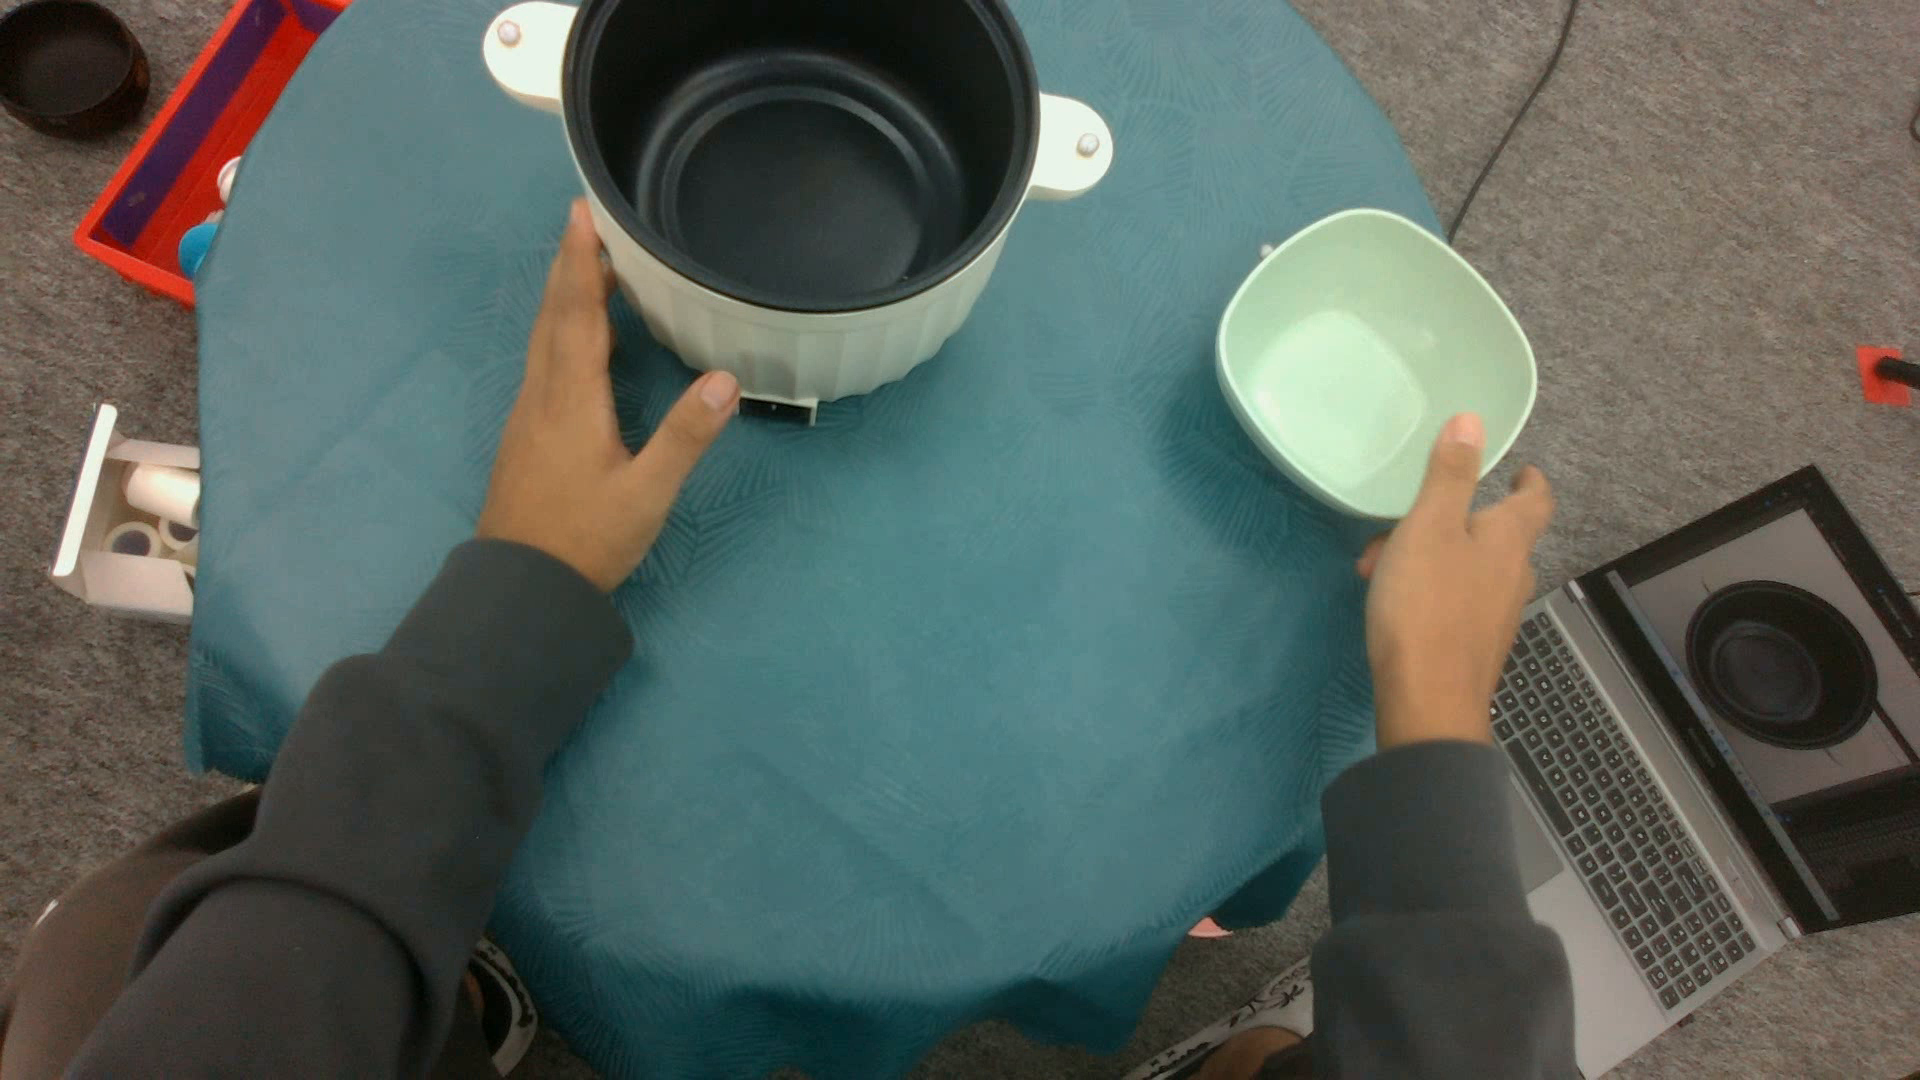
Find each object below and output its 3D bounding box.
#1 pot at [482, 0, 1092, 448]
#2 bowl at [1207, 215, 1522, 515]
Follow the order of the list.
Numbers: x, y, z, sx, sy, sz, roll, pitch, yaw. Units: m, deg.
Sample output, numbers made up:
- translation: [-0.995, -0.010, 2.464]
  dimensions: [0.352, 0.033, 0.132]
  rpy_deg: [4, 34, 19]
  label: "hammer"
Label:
- translation: [-0.074, -0.149, 0.605]
  dimensions: [0.240, 0.142, 0.191]
  rpy_deg: [4, 76, -8]
  label: "pot"
- translation: [0.186, -0.077, 0.665]
  dimensions: [0.151, 0.058, 0.152]
  rpy_deg: [2, 72, -6]
  label: "bowl"
